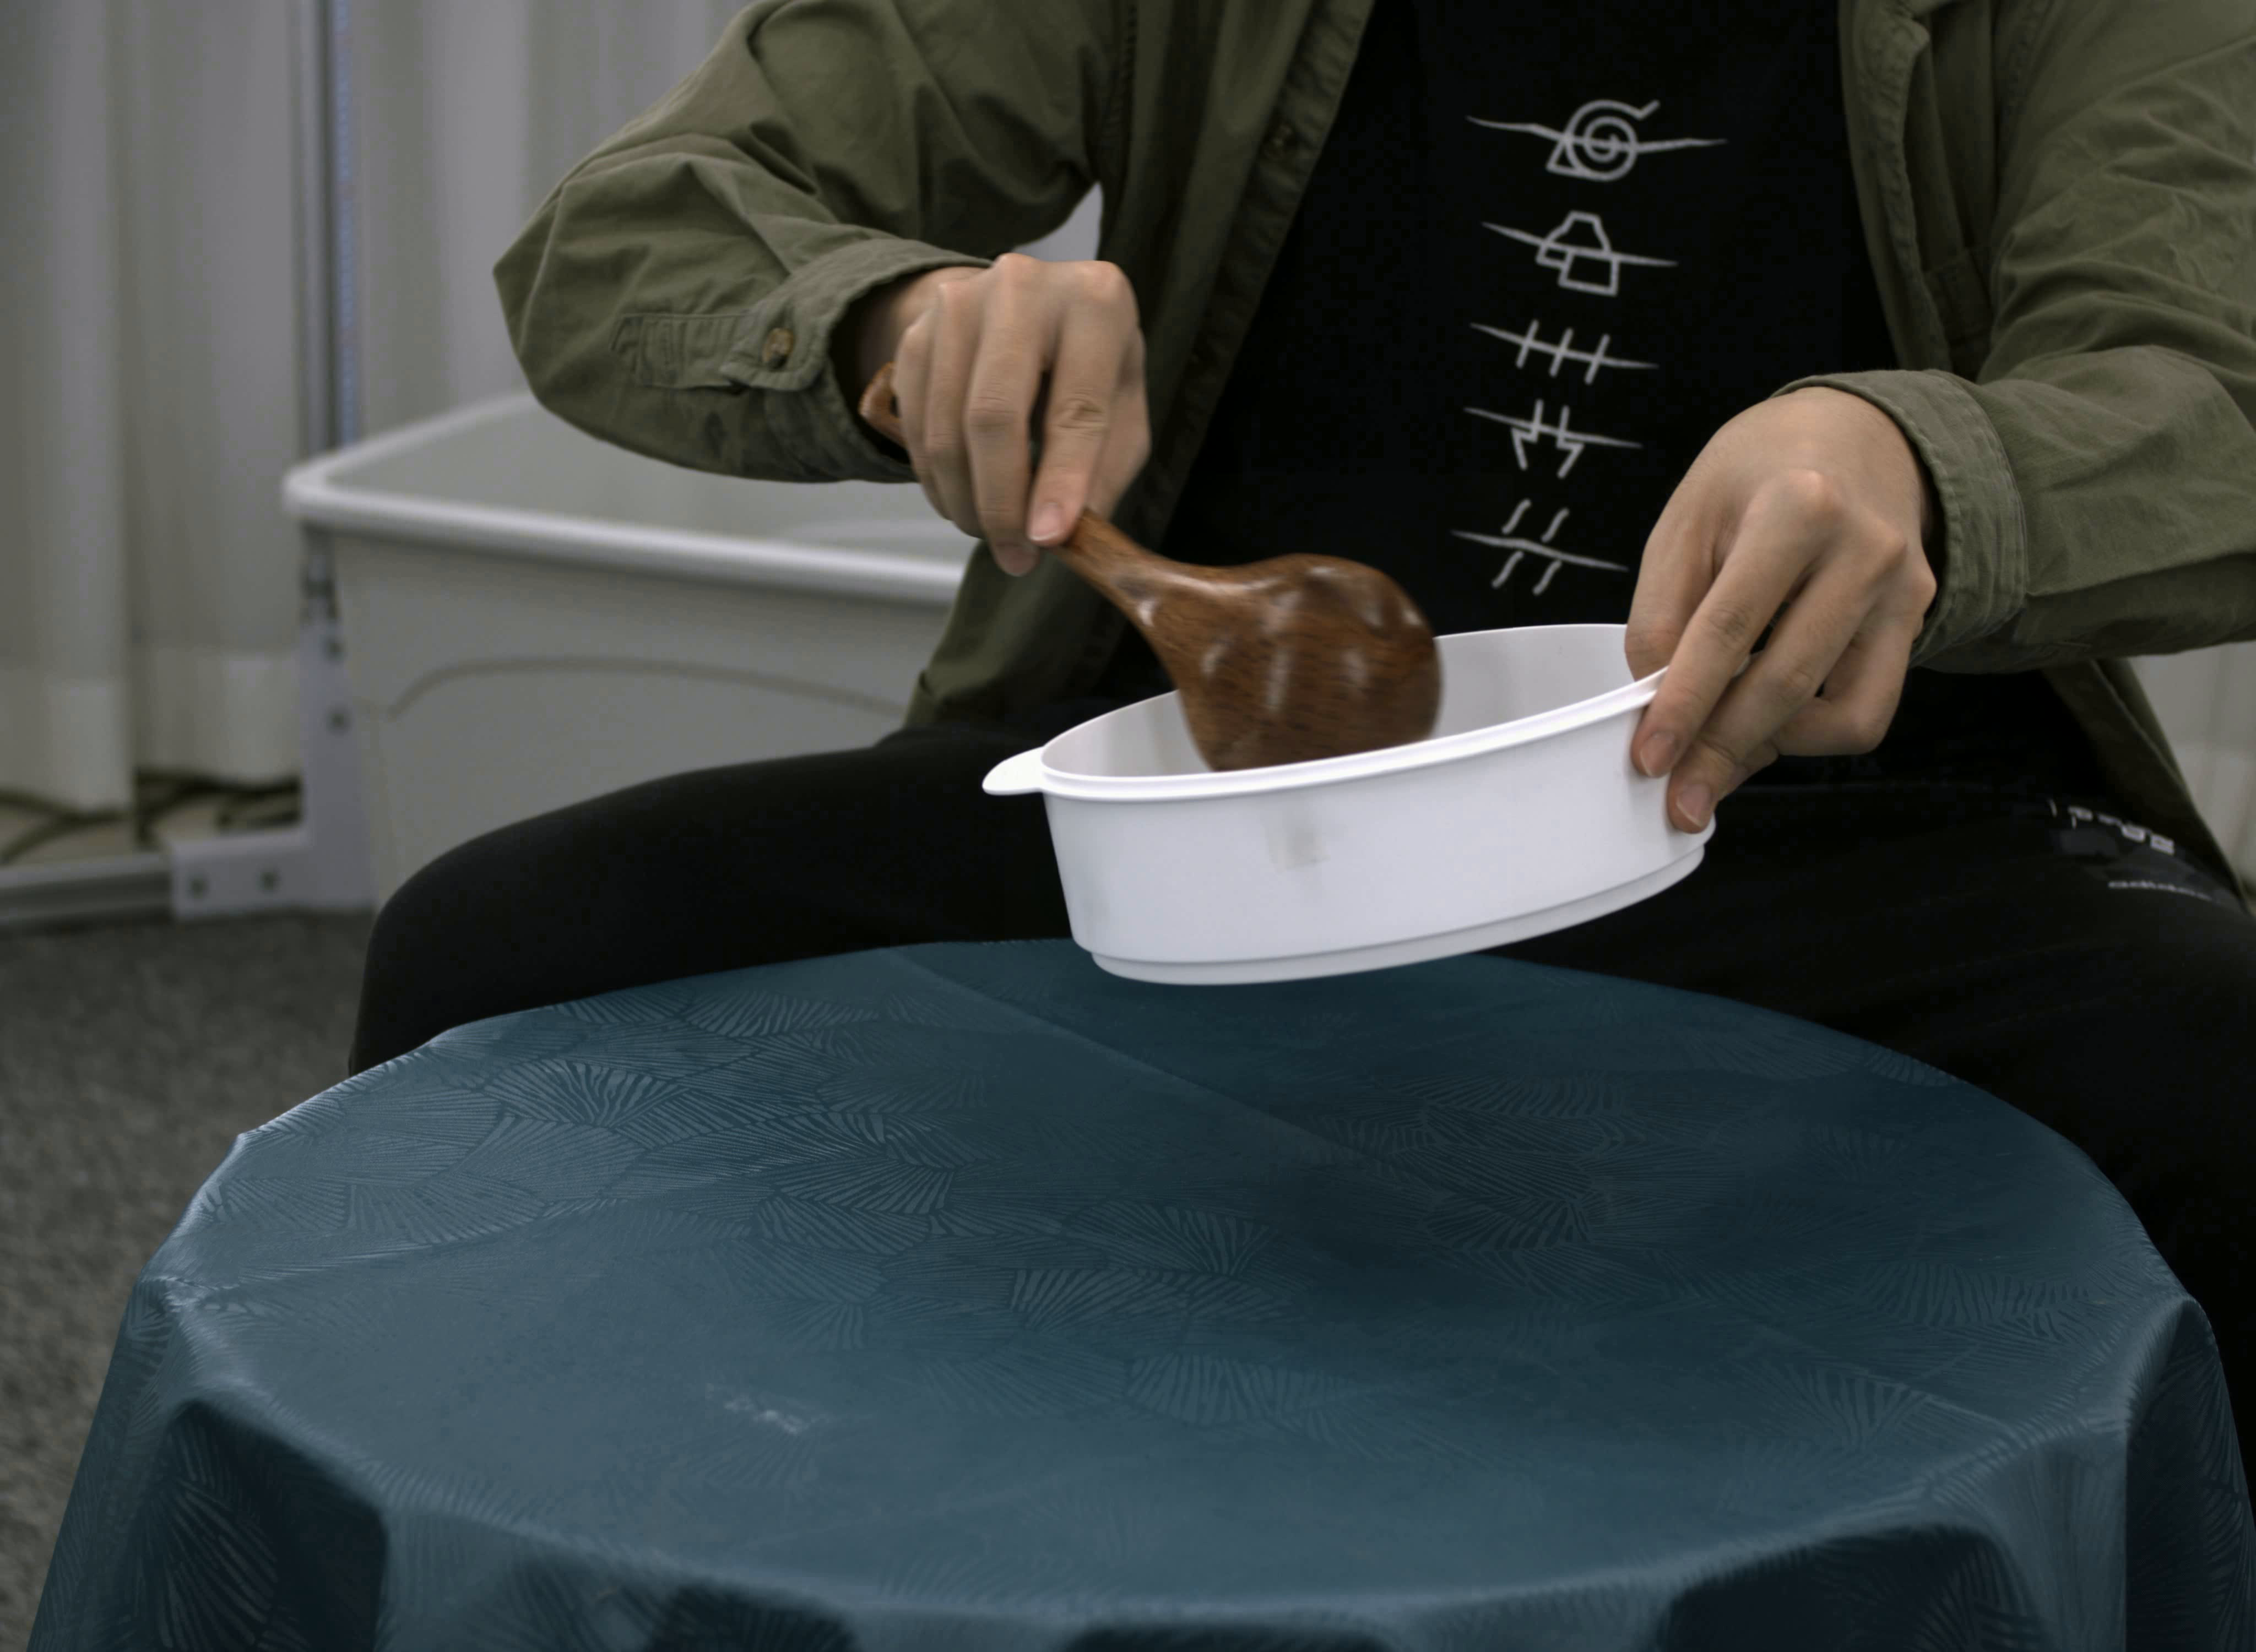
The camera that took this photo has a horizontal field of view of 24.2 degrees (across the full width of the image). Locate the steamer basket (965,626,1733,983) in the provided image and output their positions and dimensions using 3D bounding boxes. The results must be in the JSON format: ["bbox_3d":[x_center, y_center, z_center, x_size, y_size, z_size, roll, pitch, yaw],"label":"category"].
[{"bbox_3d":[0.069,-0.006,1.562,0.229,0.070,0.201,-8,10,9],"label":"steamer basket"}]

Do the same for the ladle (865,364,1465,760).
[{"bbox_3d":[0.010,-0.084,1.677,0.077,0.082,0.270,30,5,-39],"label":"ladle"}]
